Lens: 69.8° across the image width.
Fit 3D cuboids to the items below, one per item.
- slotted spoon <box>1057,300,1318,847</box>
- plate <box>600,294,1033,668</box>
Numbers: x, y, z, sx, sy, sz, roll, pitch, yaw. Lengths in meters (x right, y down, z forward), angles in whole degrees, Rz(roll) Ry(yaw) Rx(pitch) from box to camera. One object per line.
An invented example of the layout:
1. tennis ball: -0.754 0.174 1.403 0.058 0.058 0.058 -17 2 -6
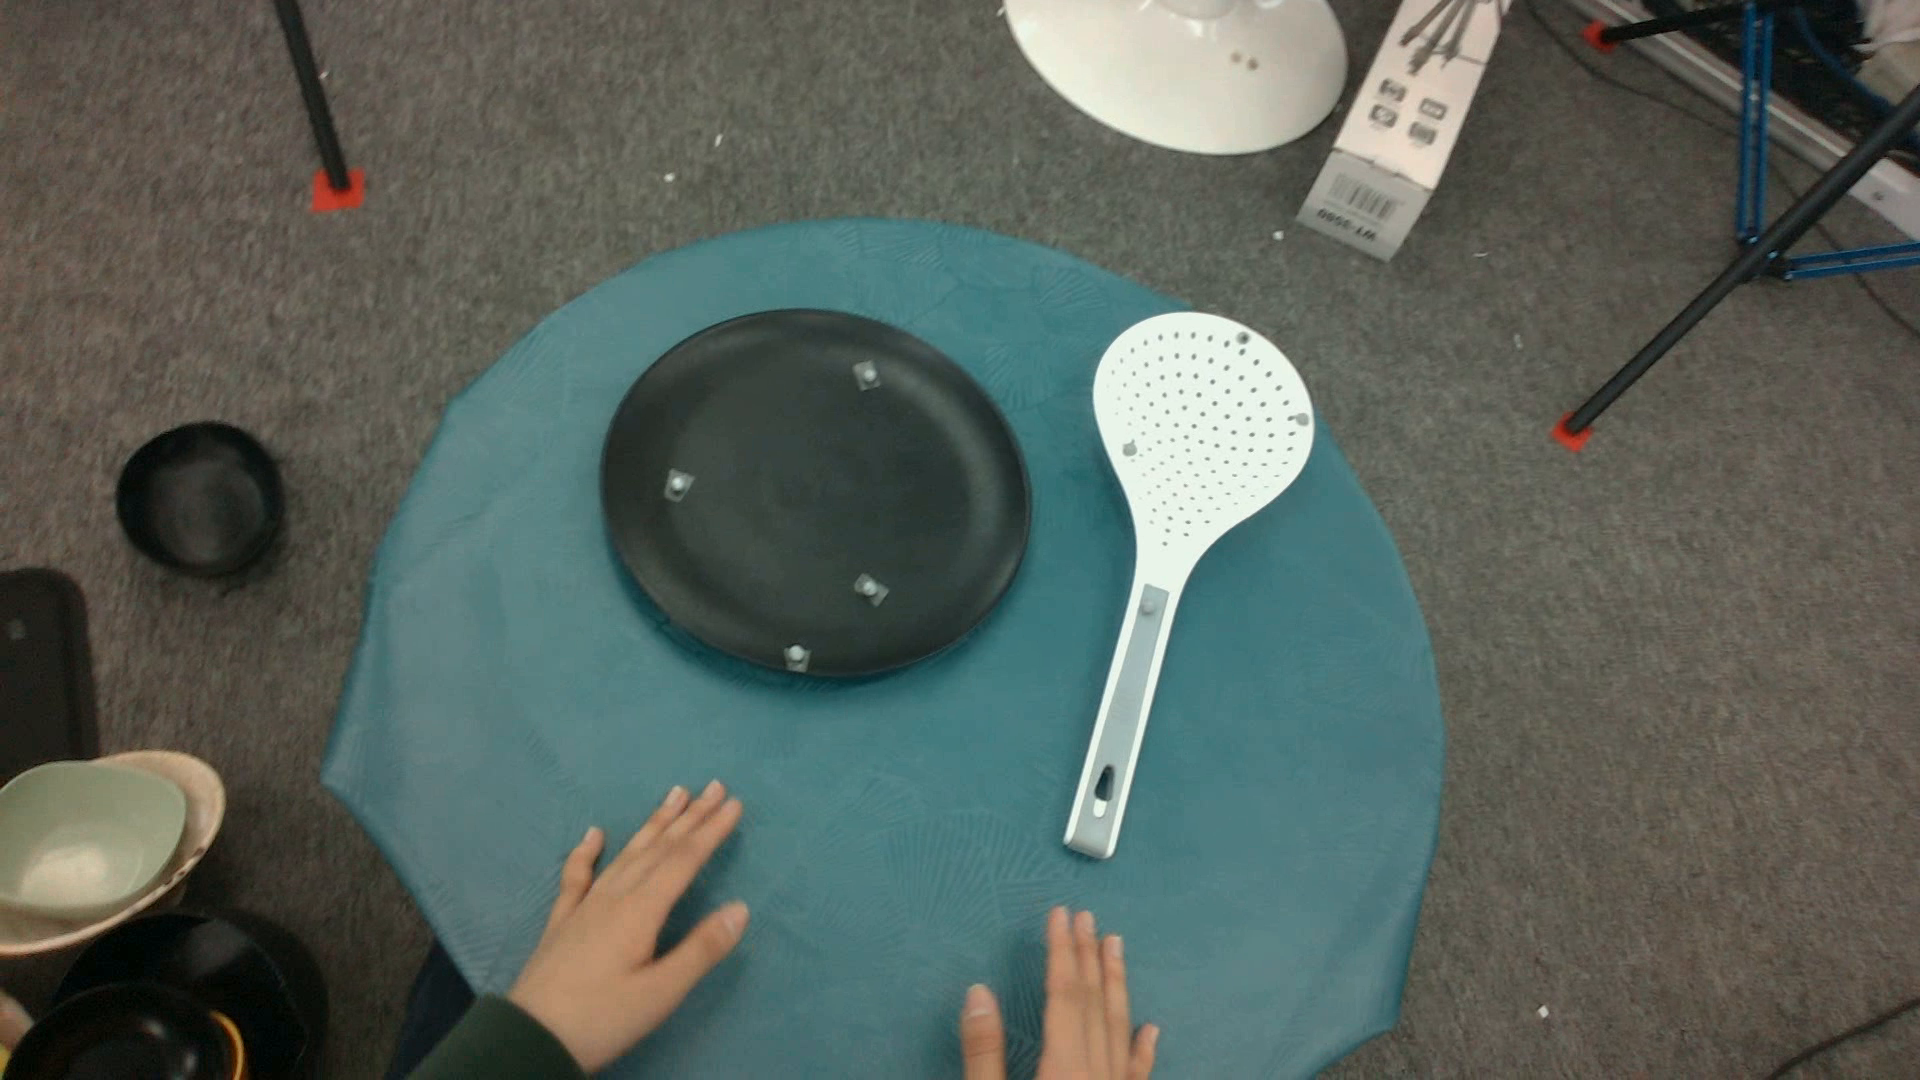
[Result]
1. slotted spoon: 0.117 0.008 0.791 0.136 0.045 0.351 19 60 0
2. plate: -0.079 -0.037 0.783 0.244 0.023 0.245 6 61 -10
